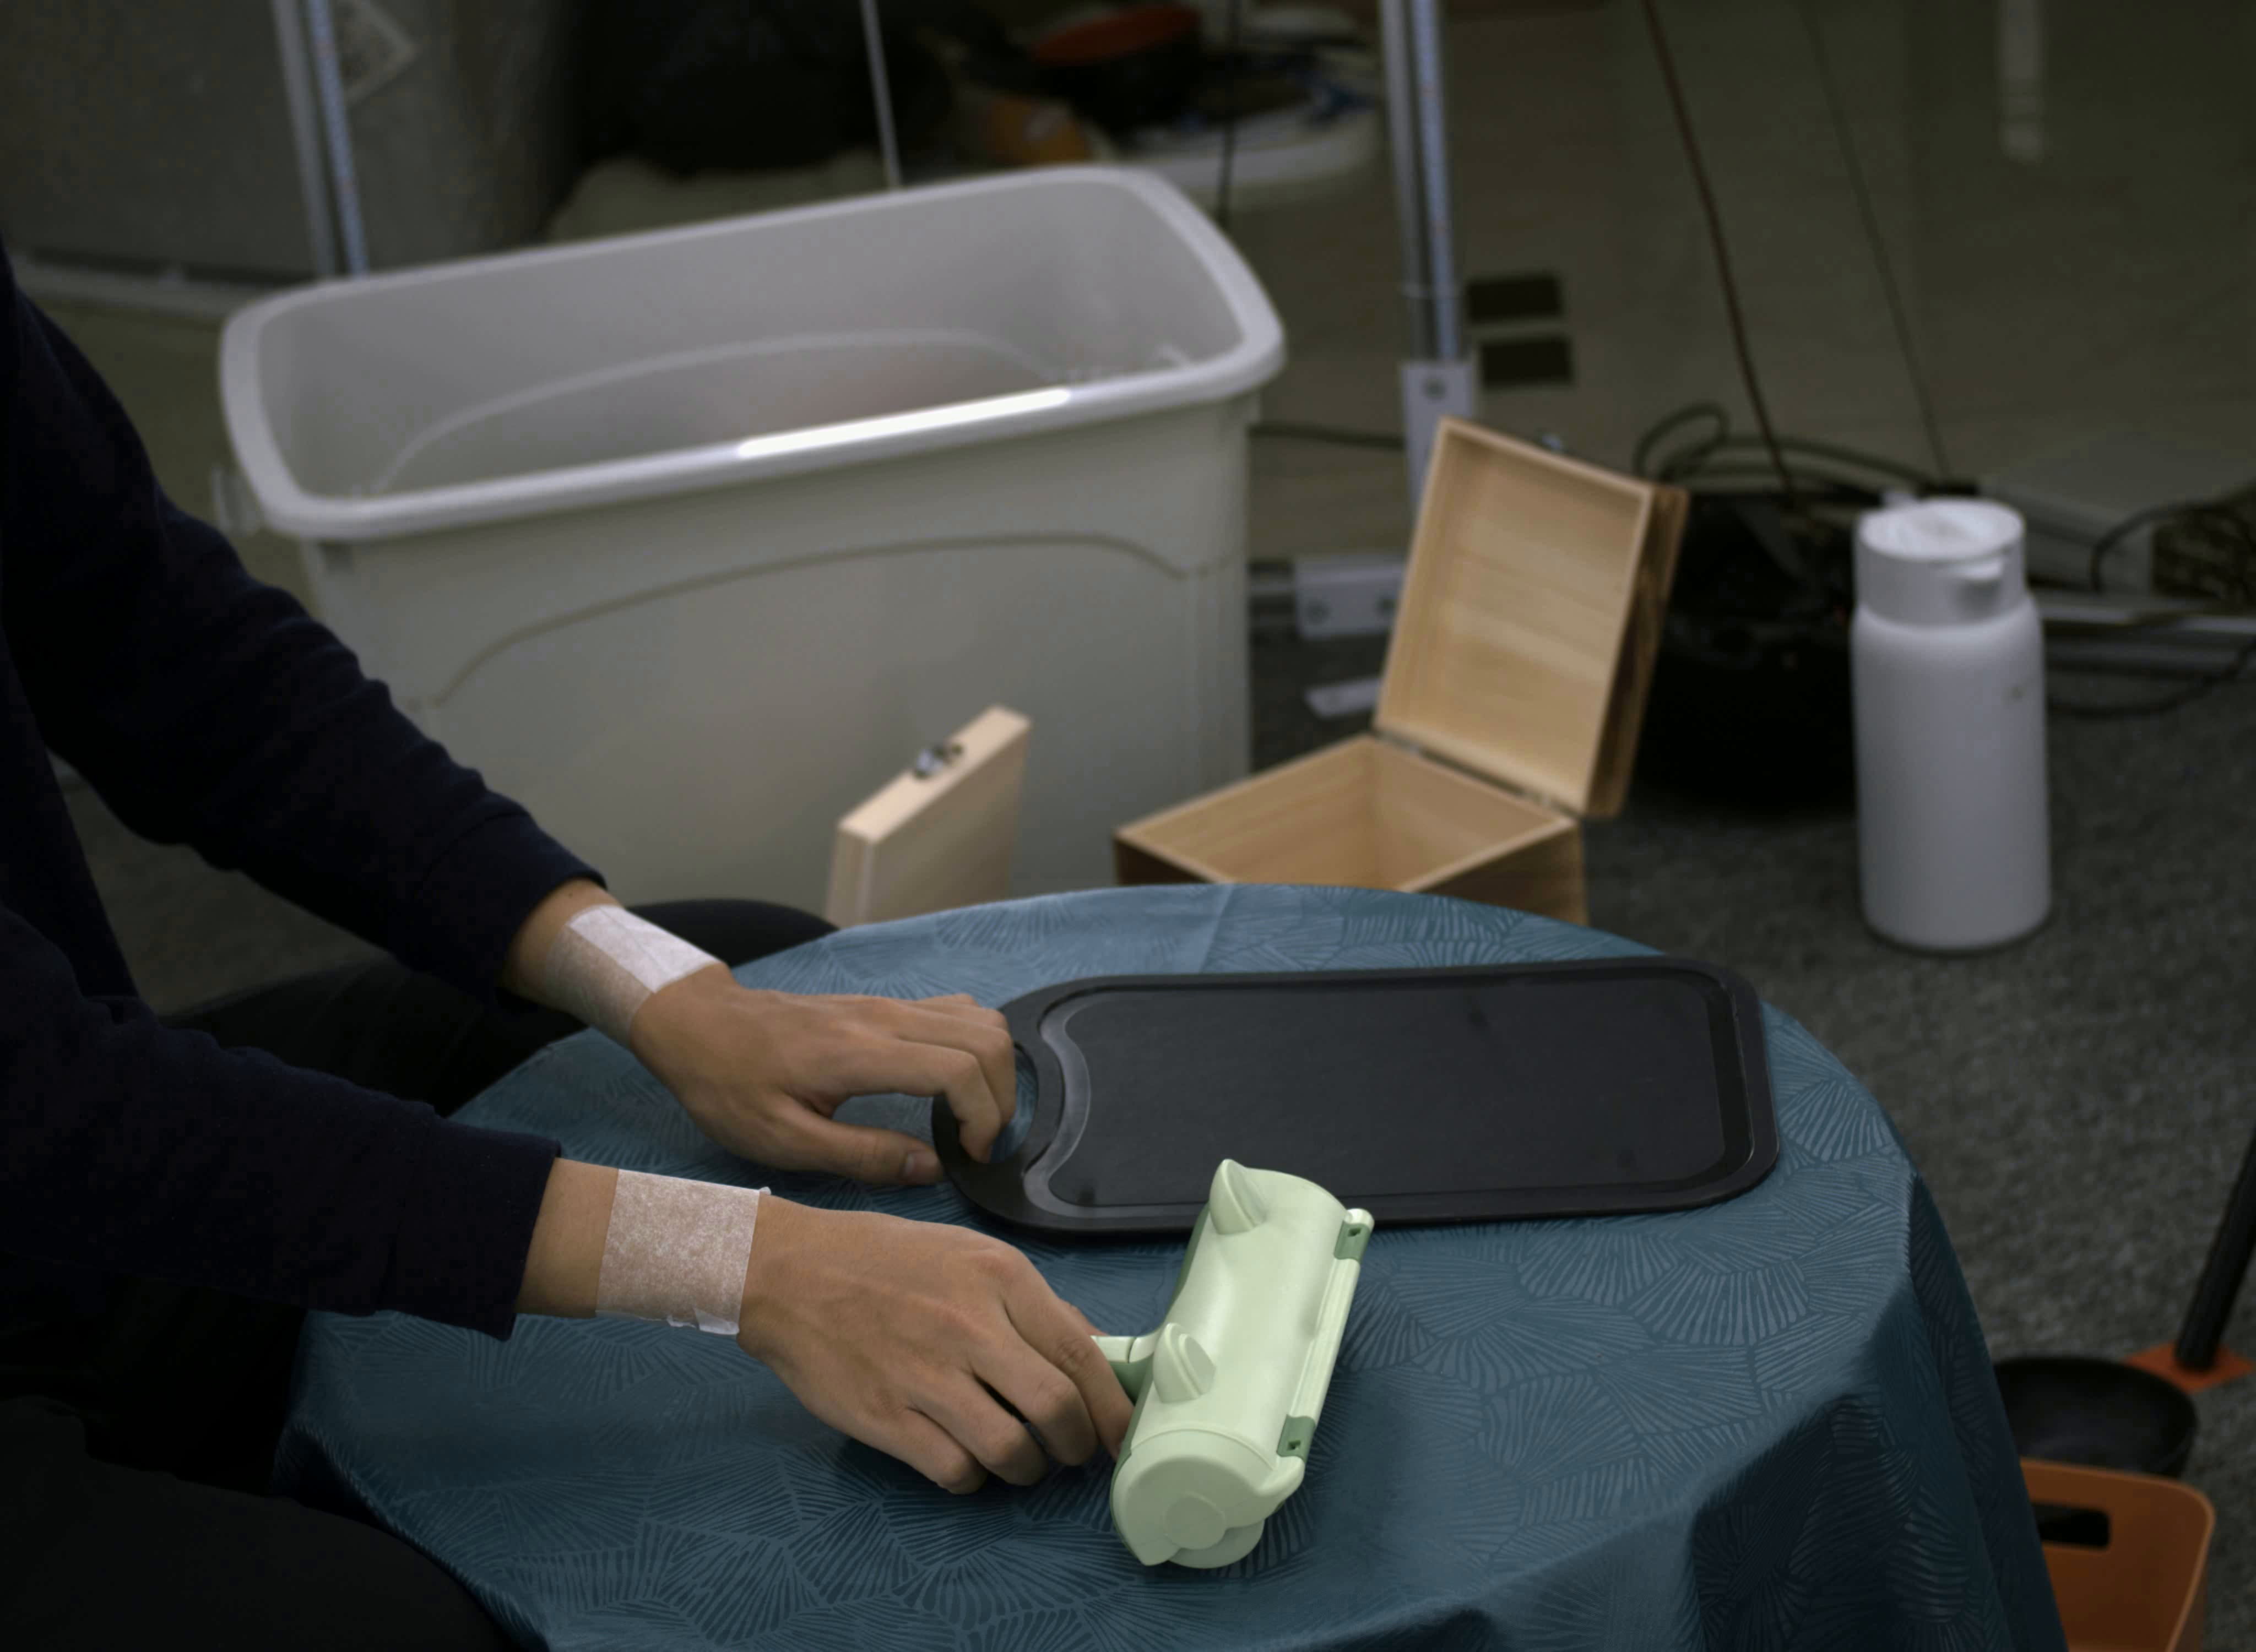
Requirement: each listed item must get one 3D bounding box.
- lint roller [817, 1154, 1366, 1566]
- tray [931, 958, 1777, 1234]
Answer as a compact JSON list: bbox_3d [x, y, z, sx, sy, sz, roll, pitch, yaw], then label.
[{"bbox_3d":[-0.019,0.175,1.972,0.183,0.083,0.196,4,26,8],"label":"lint roller"},{"bbox_3d":[0.085,0.102,2.190,0.325,0.010,0.208,-3,25,4],"label":"tray"}]
